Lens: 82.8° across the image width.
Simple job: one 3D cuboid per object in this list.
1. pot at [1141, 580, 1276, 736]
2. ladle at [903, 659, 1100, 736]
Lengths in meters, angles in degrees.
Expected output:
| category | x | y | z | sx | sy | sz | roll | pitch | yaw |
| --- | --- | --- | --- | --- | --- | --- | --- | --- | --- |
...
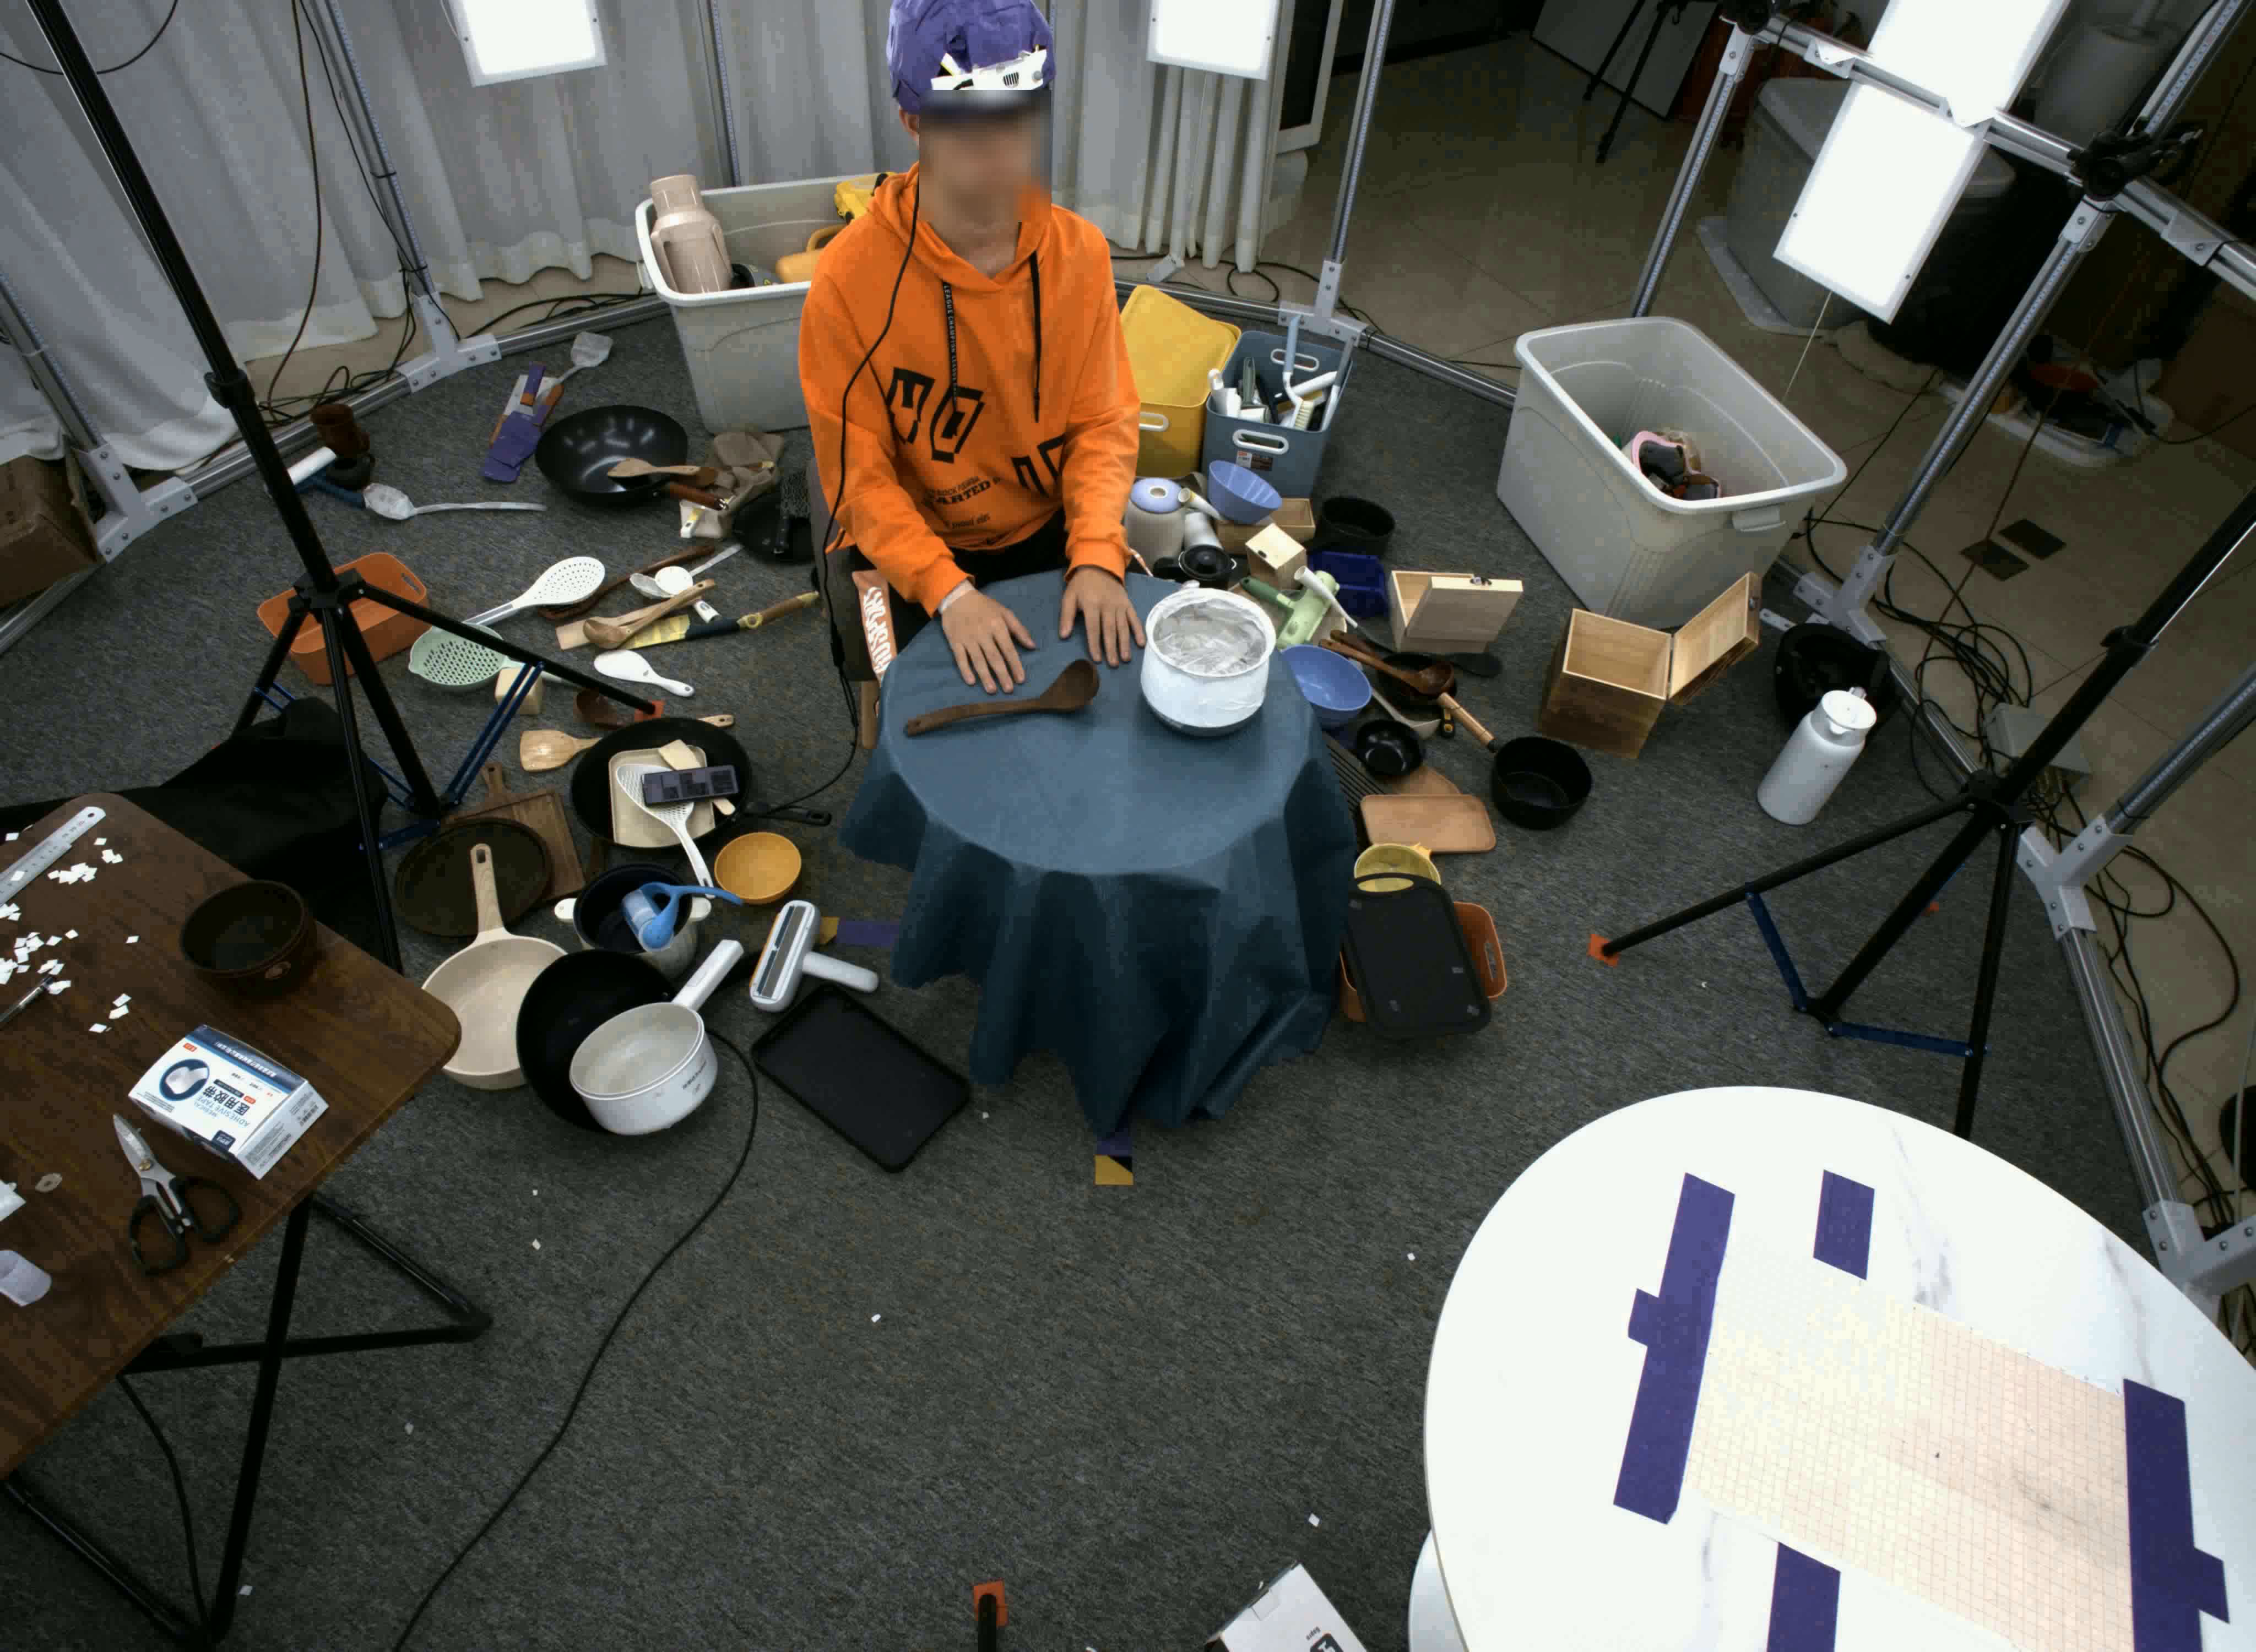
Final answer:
| category | x | y | z | sx | sy | sz | roll | pitch | yaw |
| --- | --- | --- | --- | --- | --- | --- | --- | --- | --- |
| pot | 0.101 | -0.245 | 1.799 | 0.178 | 0.133 | 0.239 | -8 | 51 | -12 |
| ladle | -0.173 | -0.176 | 1.765 | 0.274 | 0.069 | 0.078 | -11 | 48 | -14 |
